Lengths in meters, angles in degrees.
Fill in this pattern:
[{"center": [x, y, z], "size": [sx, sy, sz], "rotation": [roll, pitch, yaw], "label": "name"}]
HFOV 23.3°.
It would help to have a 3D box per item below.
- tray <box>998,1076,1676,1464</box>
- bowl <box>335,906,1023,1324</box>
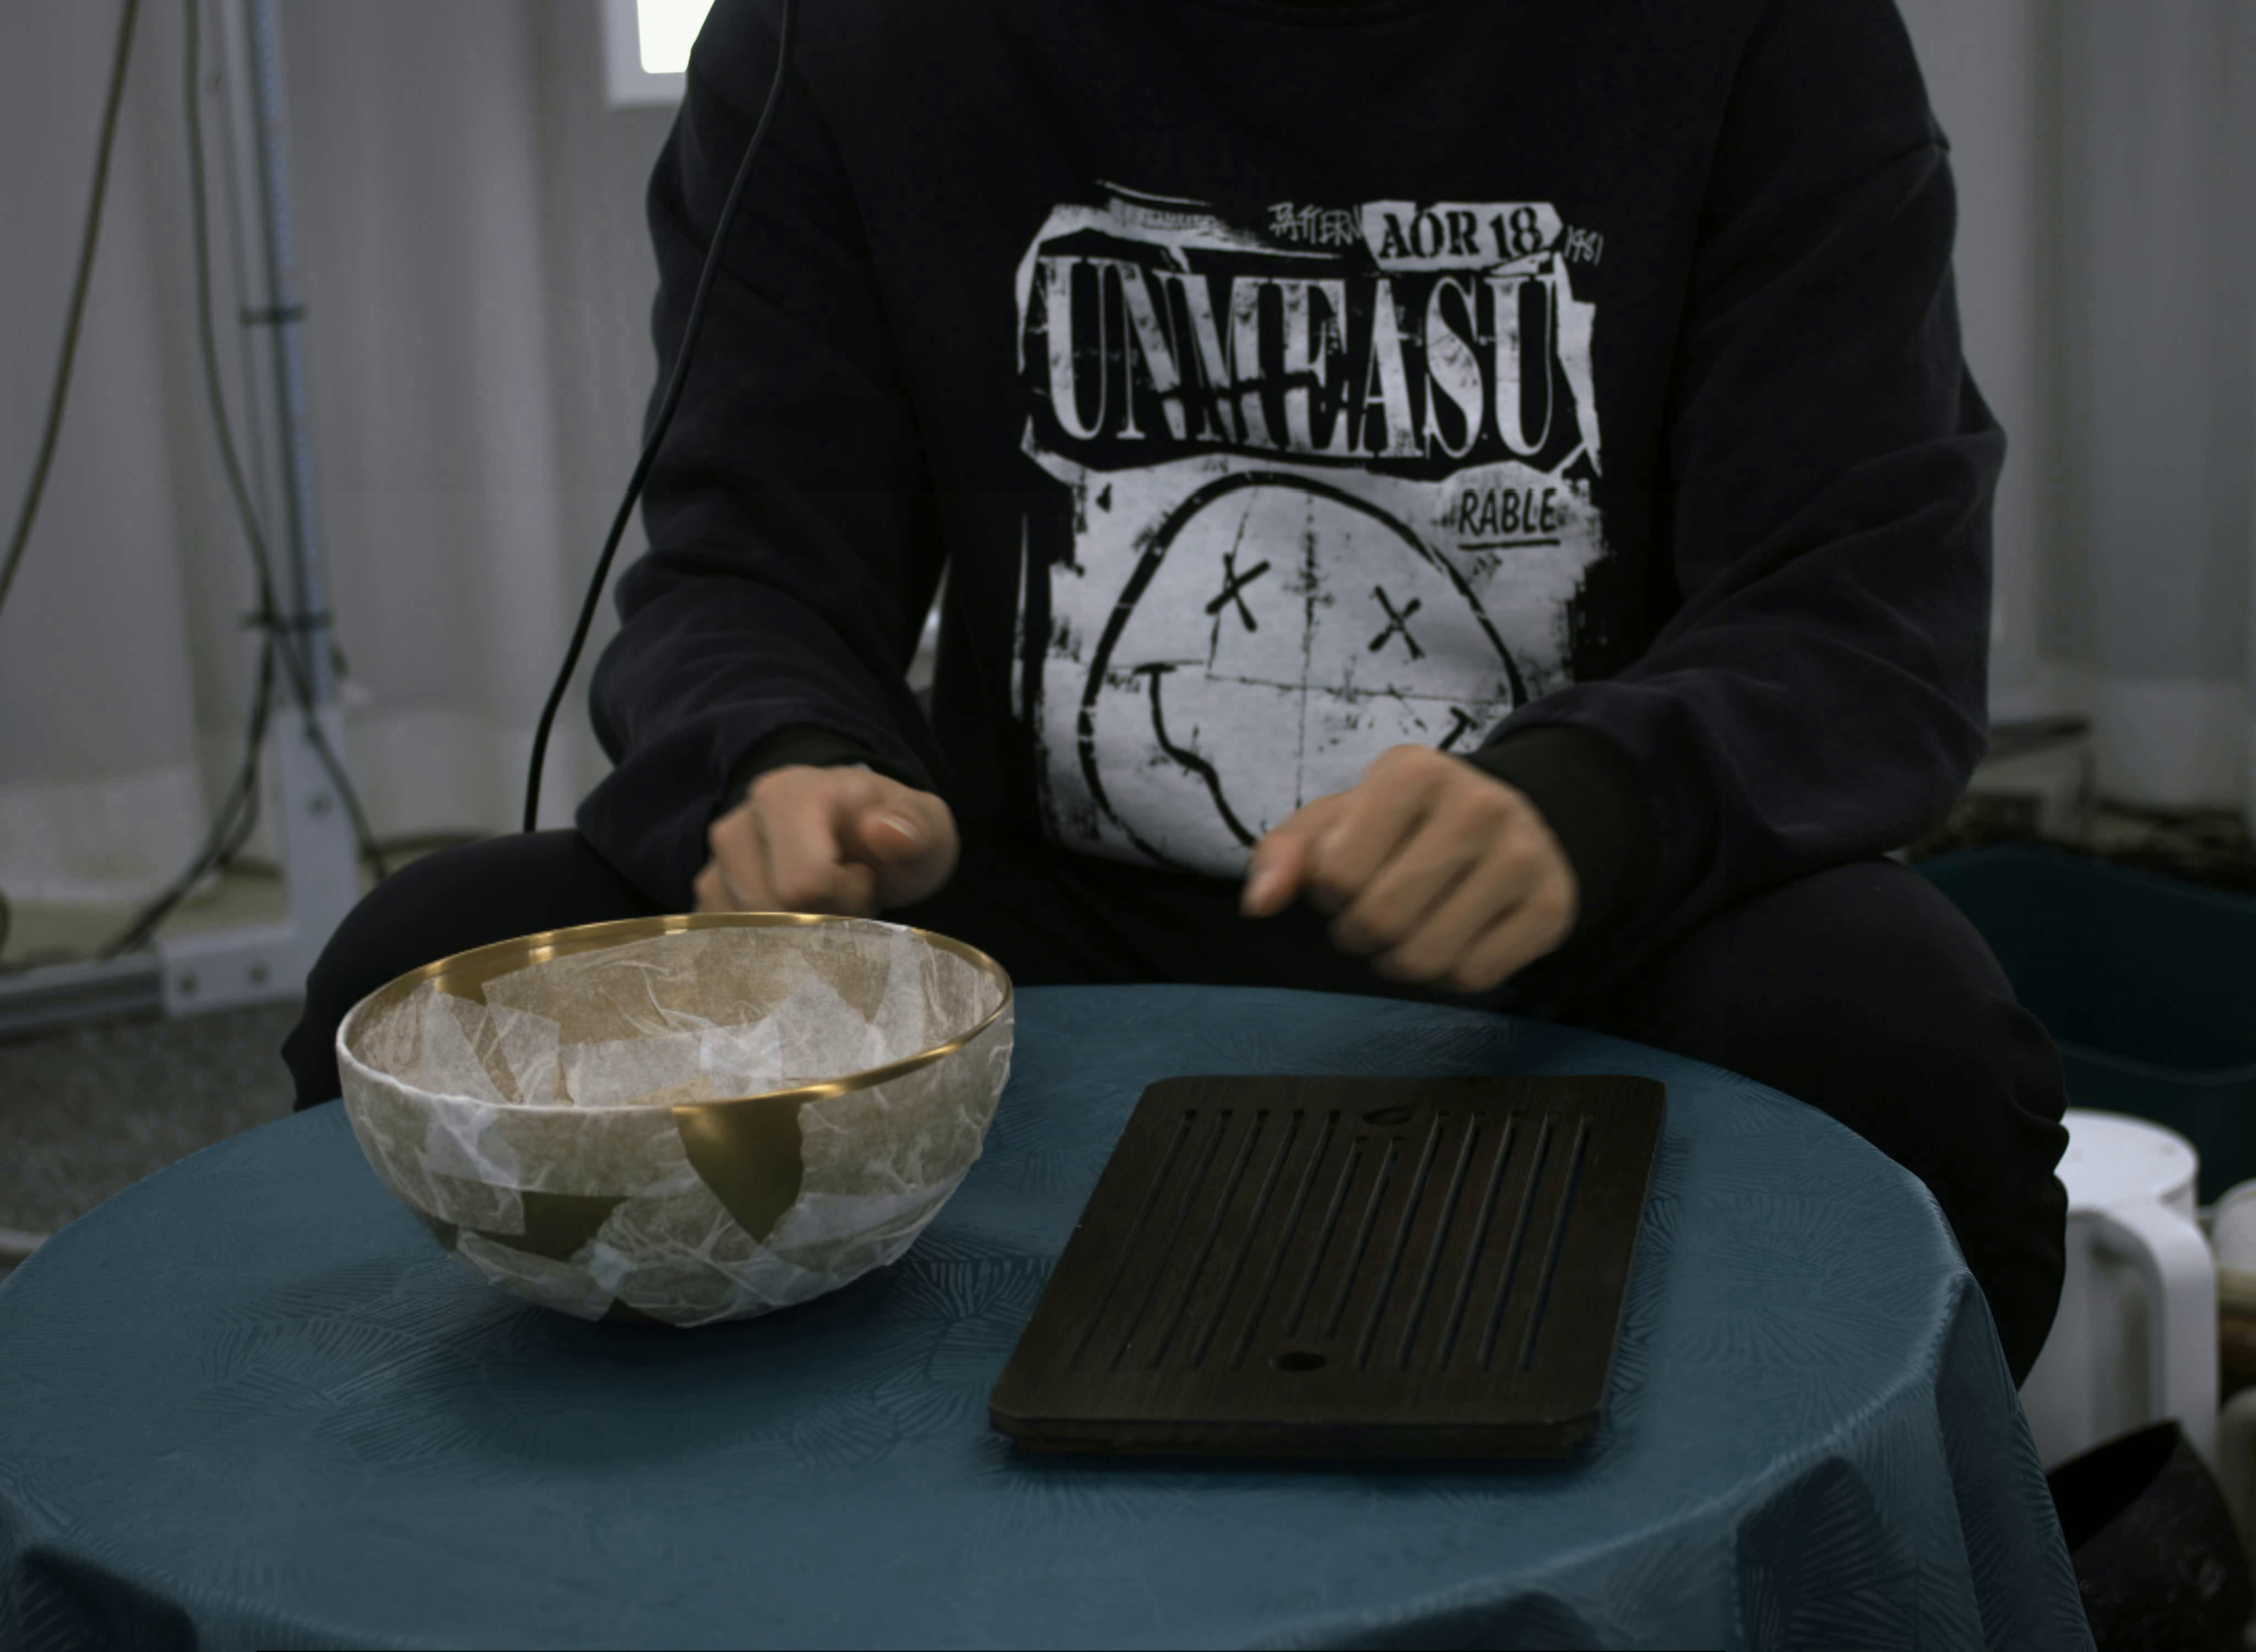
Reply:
[{"center": [0.070, 0.128, 1.616], "size": [0.170, 0.018, 0.307], "rotation": [0, 15, 9], "label": "tray"}, {"center": [-0.128, 0.094, 1.636], "size": [0.214, 0.094, 0.216], "rotation": [-4, 14, 1], "label": "bowl"}]
